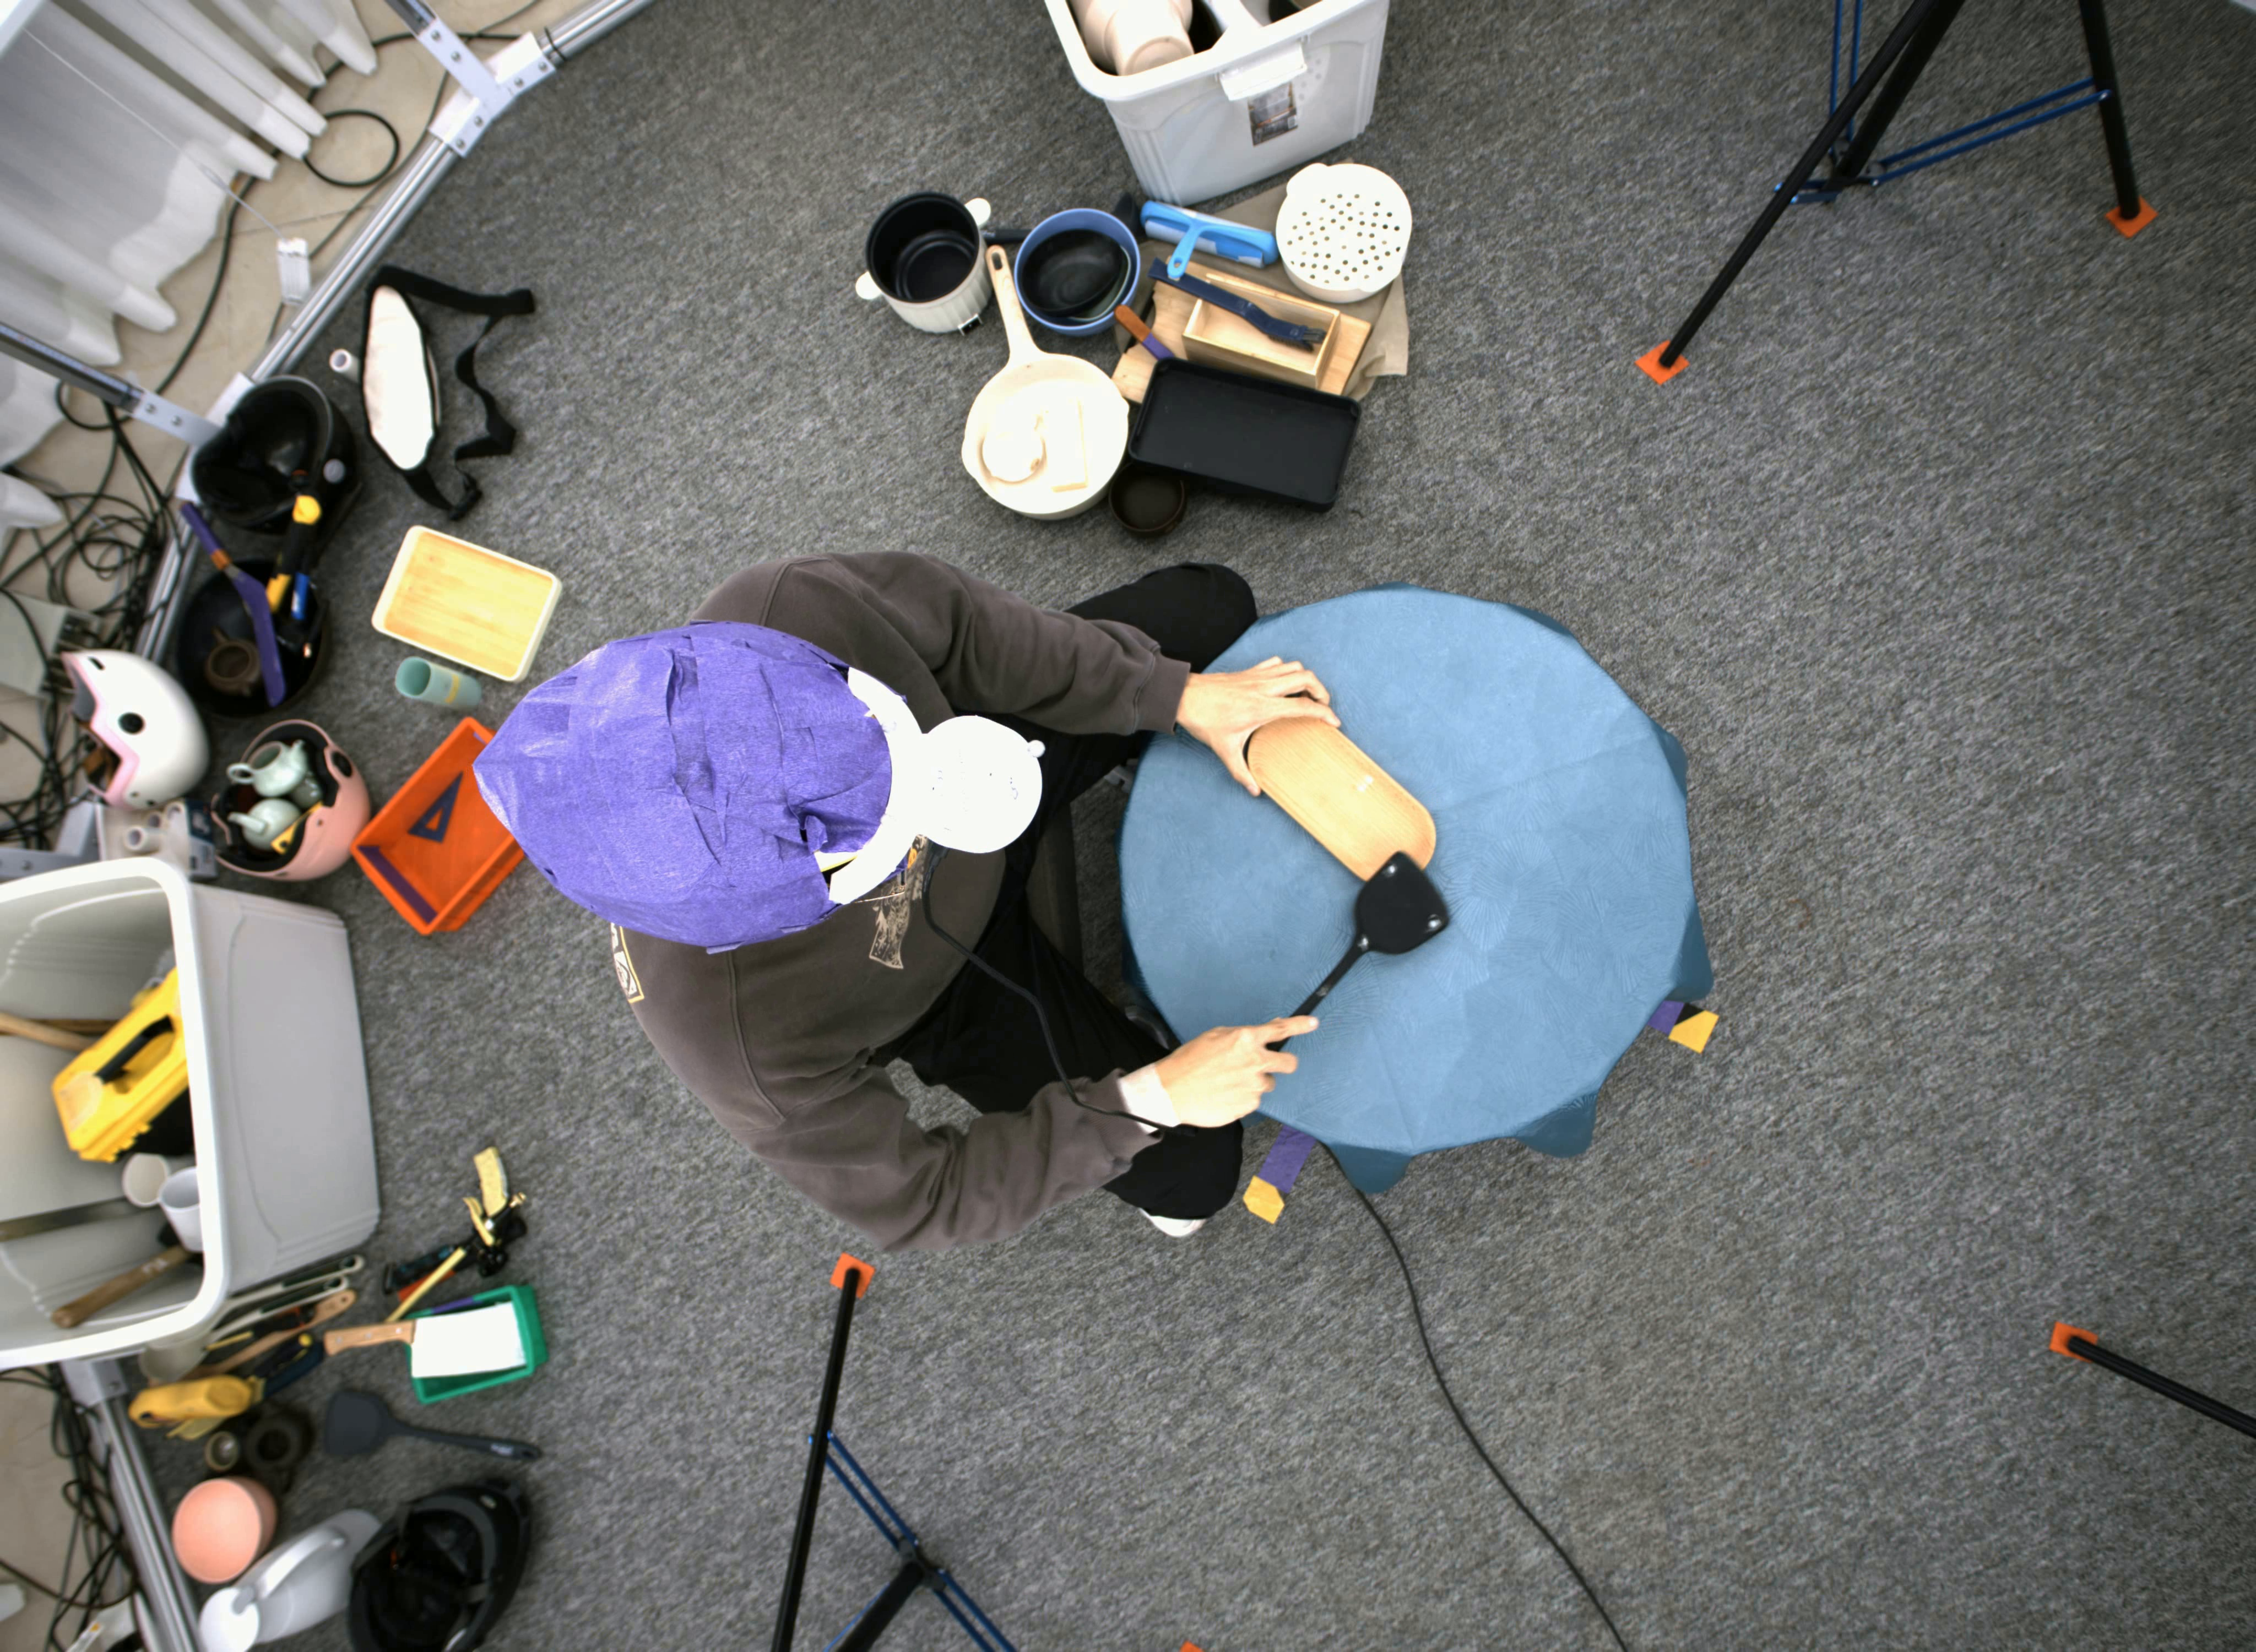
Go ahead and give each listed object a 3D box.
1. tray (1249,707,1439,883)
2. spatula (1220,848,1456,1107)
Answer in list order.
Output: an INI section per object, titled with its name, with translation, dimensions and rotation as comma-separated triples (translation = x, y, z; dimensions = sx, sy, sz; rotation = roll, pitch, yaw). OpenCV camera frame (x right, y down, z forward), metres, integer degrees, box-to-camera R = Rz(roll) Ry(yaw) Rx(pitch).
[tray]
translation = 0.227, -0.033, 1.459
dimensions = 0.230, 0.020, 0.102
rotation = 42, 95, 6
[spatula]
translation = 0.201, 0.157, 1.366
dimensions = 0.321, 0.041, 0.100
rotation = -45, 103, -22
